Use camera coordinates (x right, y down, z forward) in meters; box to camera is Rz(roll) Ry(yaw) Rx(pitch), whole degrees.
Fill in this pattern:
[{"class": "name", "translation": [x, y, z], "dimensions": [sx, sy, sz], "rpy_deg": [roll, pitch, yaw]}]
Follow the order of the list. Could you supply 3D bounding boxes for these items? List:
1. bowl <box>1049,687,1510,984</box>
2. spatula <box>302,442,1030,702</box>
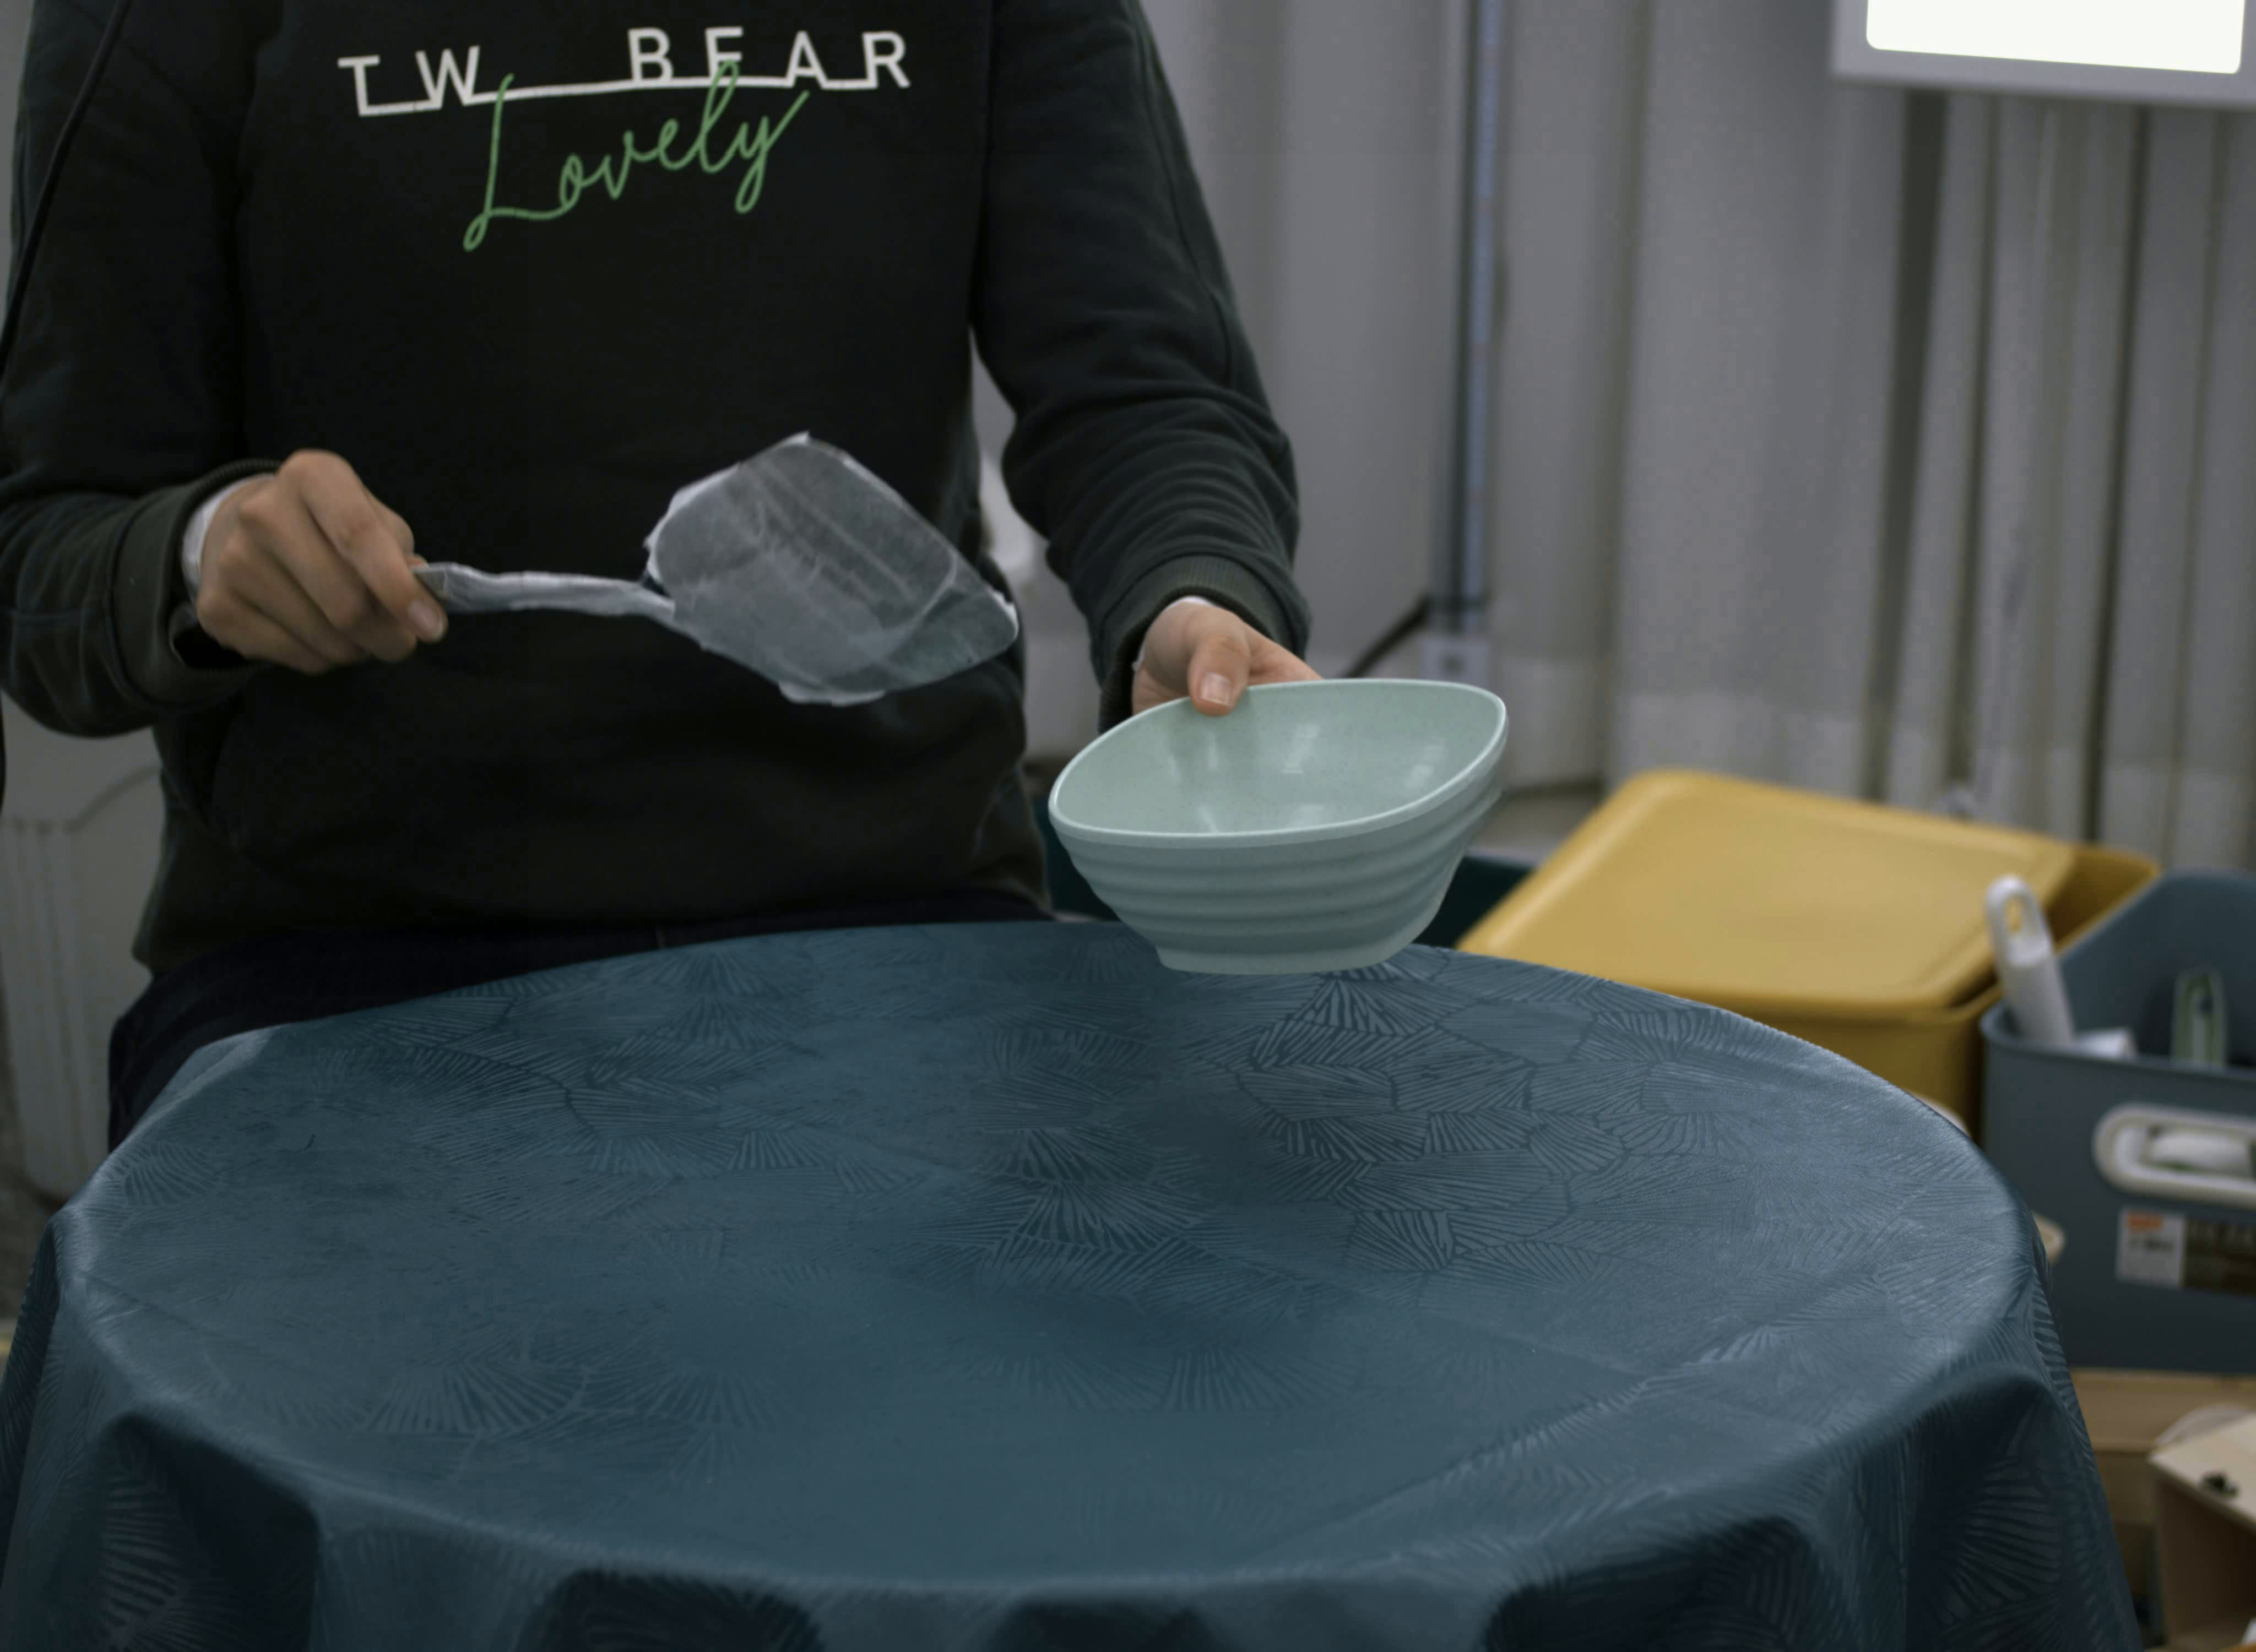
[{"class": "bowl", "translation": [0.050, 0.007, 1.643], "dimensions": [0.151, 0.059, 0.150], "rpy_deg": [-5, 20, 2]}, {"class": "spatula", "translation": [-0.165, -0.071, 1.625], "dimensions": [0.100, 0.045, 0.361], "rpy_deg": [39, -20, -30]}]
